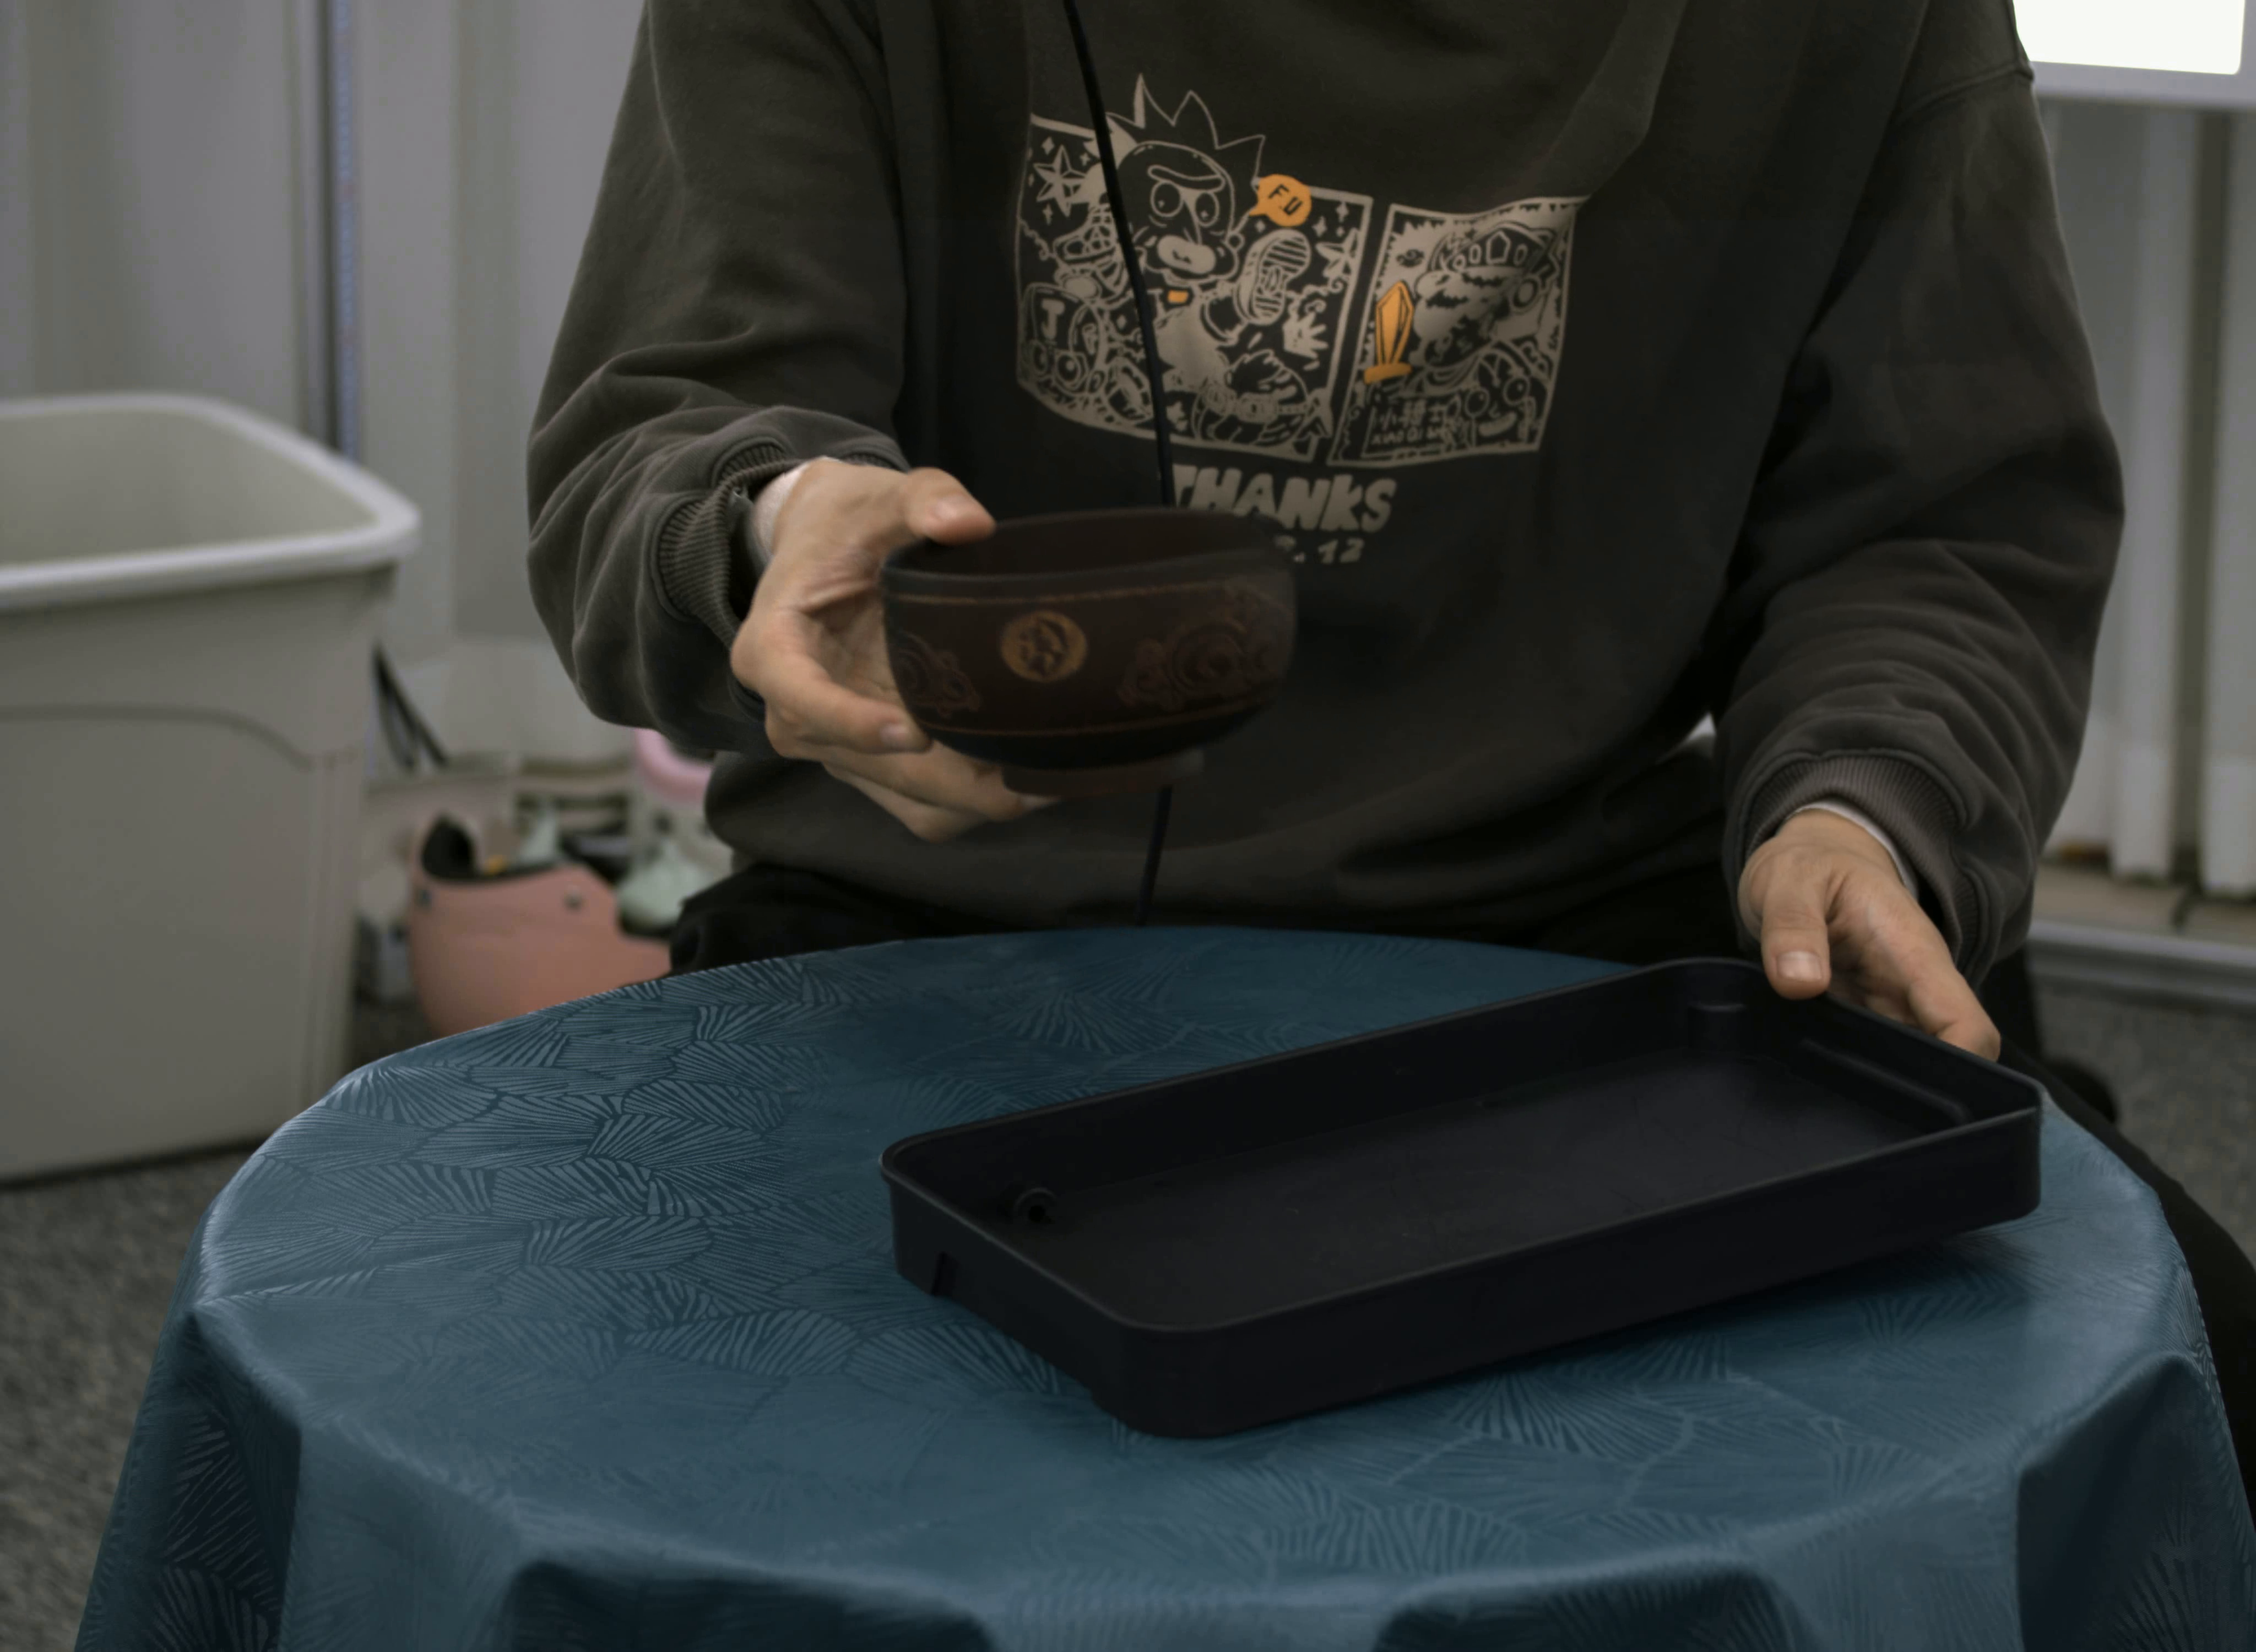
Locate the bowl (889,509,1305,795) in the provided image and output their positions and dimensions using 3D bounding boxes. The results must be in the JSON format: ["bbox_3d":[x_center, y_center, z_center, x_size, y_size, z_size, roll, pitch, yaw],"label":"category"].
[{"bbox_3d":[-0.008,-0.048,1.489,0.117,0.070,0.117,-4,10,1],"label":"bowl"}]

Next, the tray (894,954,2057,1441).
[{"bbox_3d":[0.105,0.104,1.569,0.319,0.037,0.182,-13,19,-30],"label":"tray"}]
